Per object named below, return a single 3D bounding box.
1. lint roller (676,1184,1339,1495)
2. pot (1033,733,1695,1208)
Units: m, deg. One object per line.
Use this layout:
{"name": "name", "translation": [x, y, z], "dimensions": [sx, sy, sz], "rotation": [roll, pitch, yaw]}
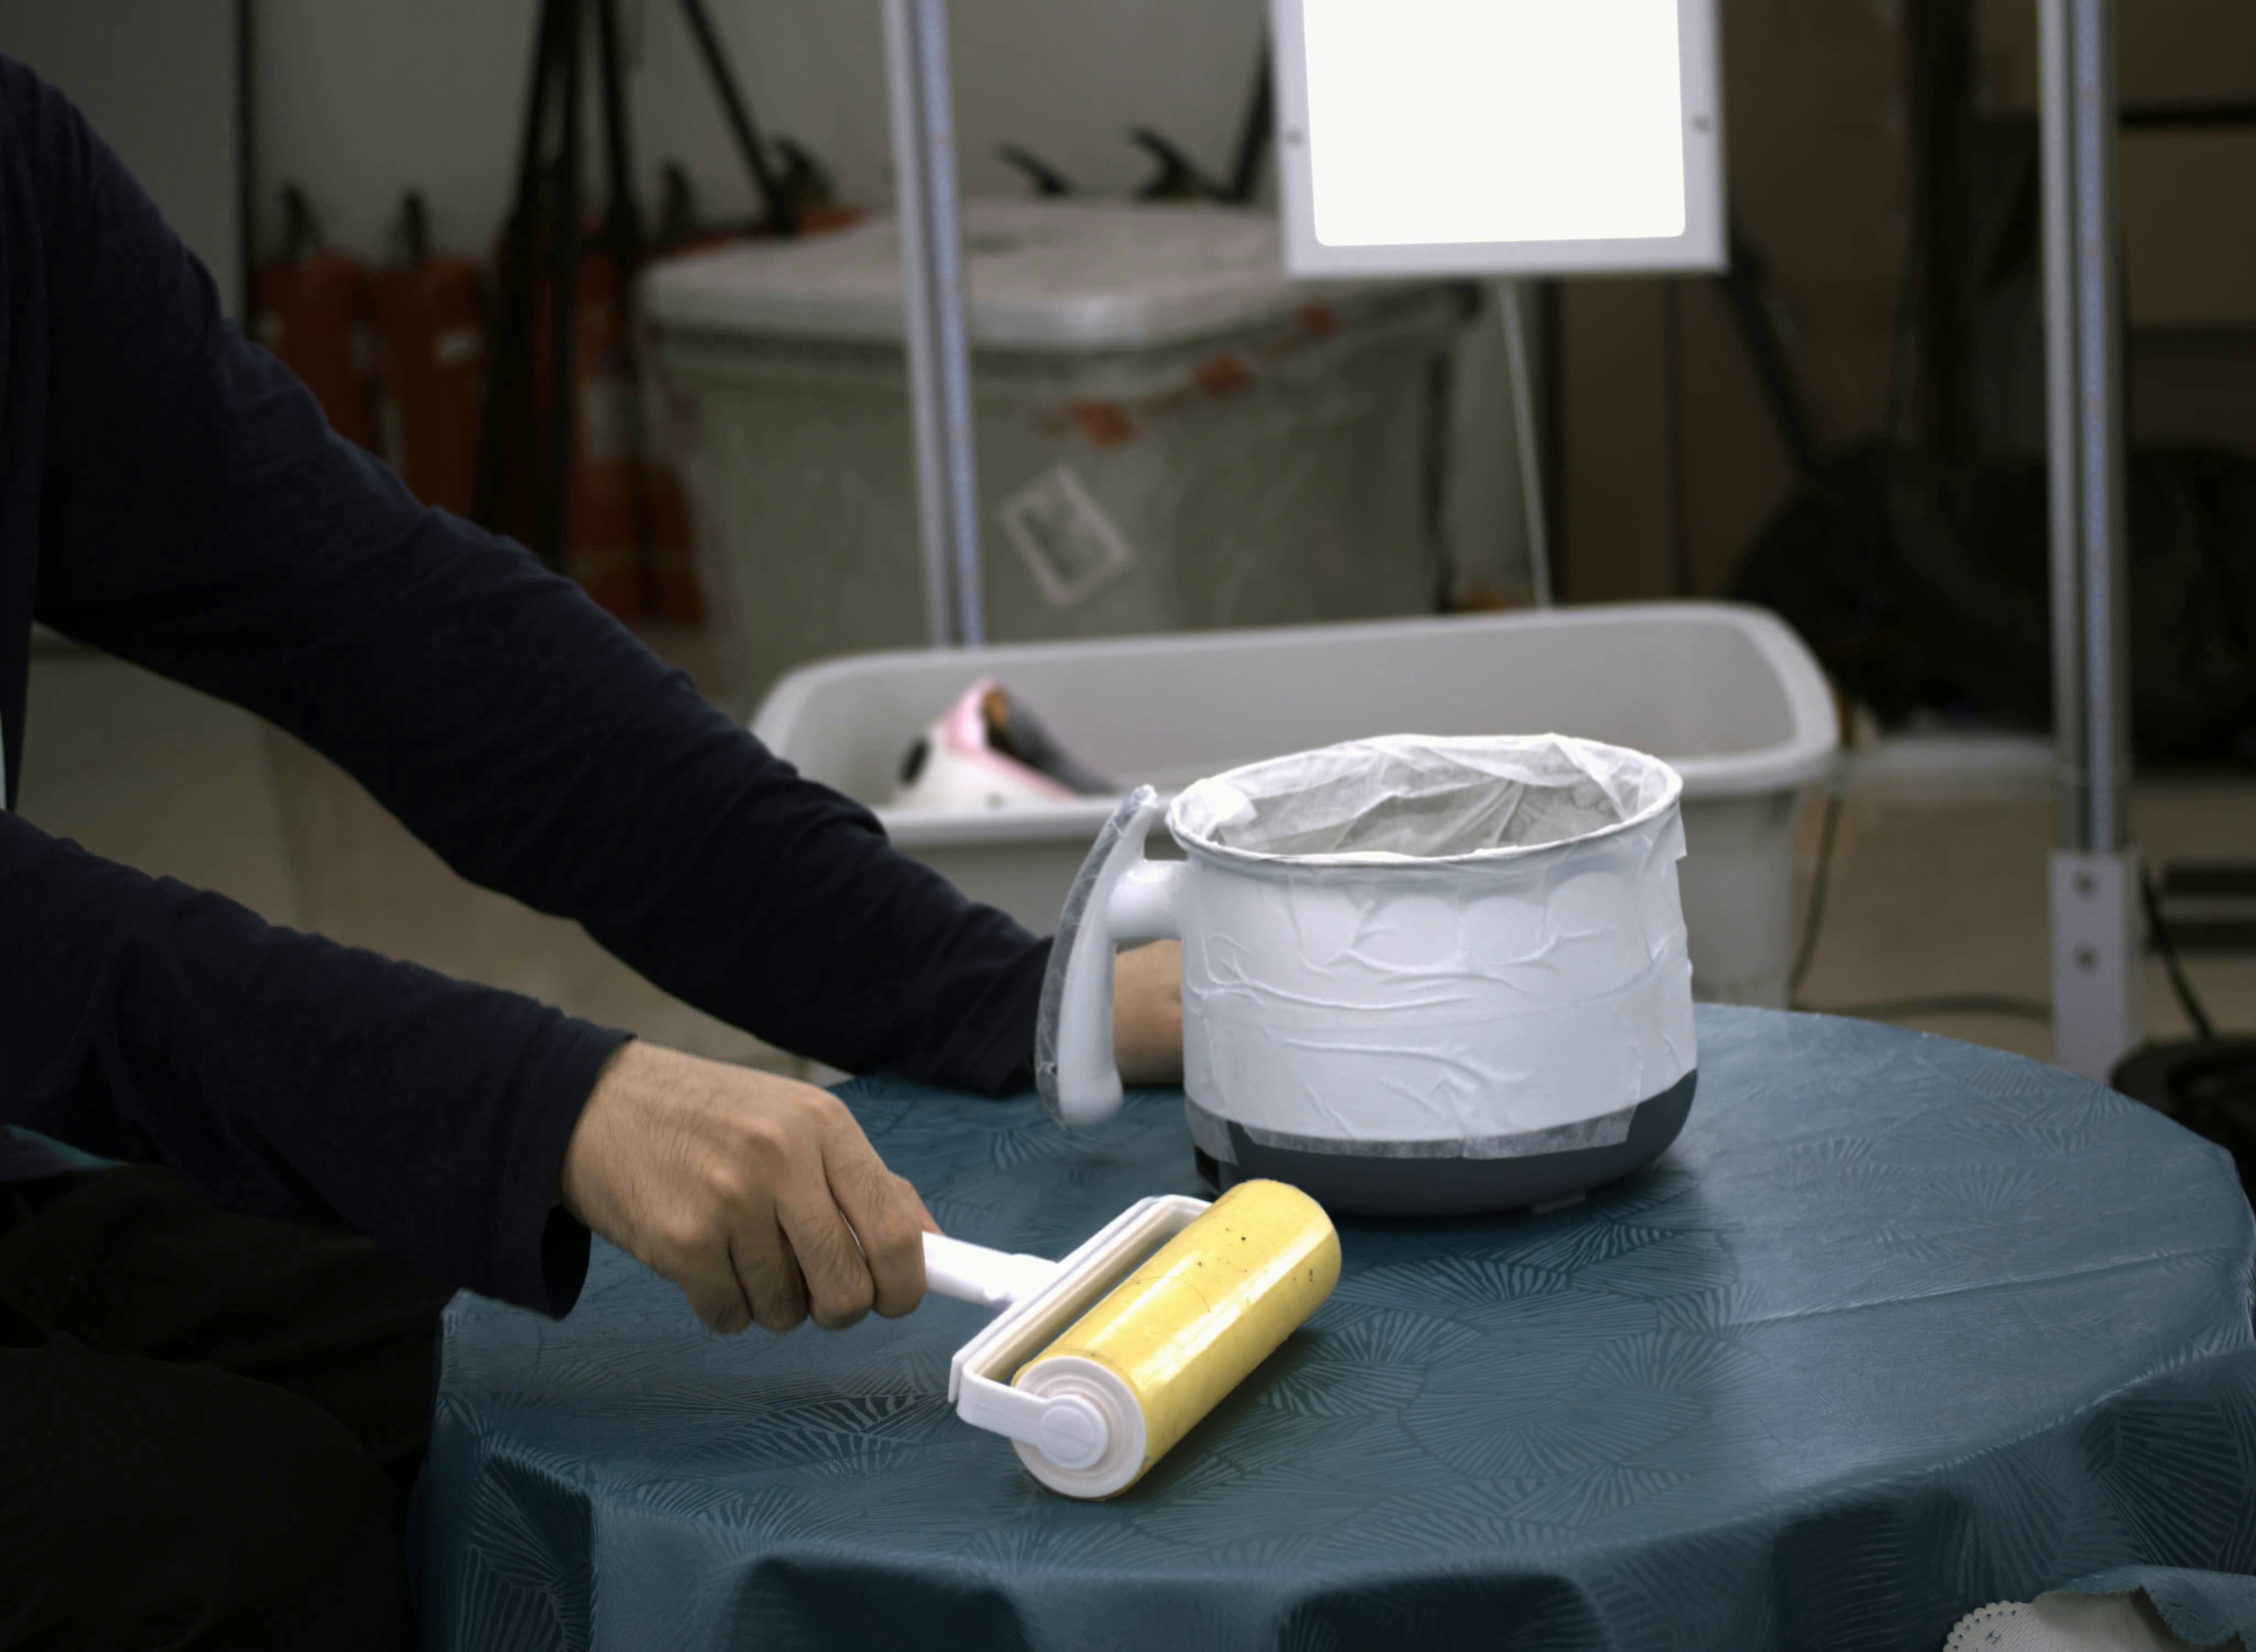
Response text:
{"name": "lint roller", "translation": [-0.049, 0.133, 1.698], "dimensions": [0.194, 0.052, 0.171], "rotation": [19, 21, 17]}
{"name": "pot", "translation": [0.079, 0.049, 1.893], "dimensions": [0.236, 0.137, 0.176], "rotation": [0, 13, 15]}
